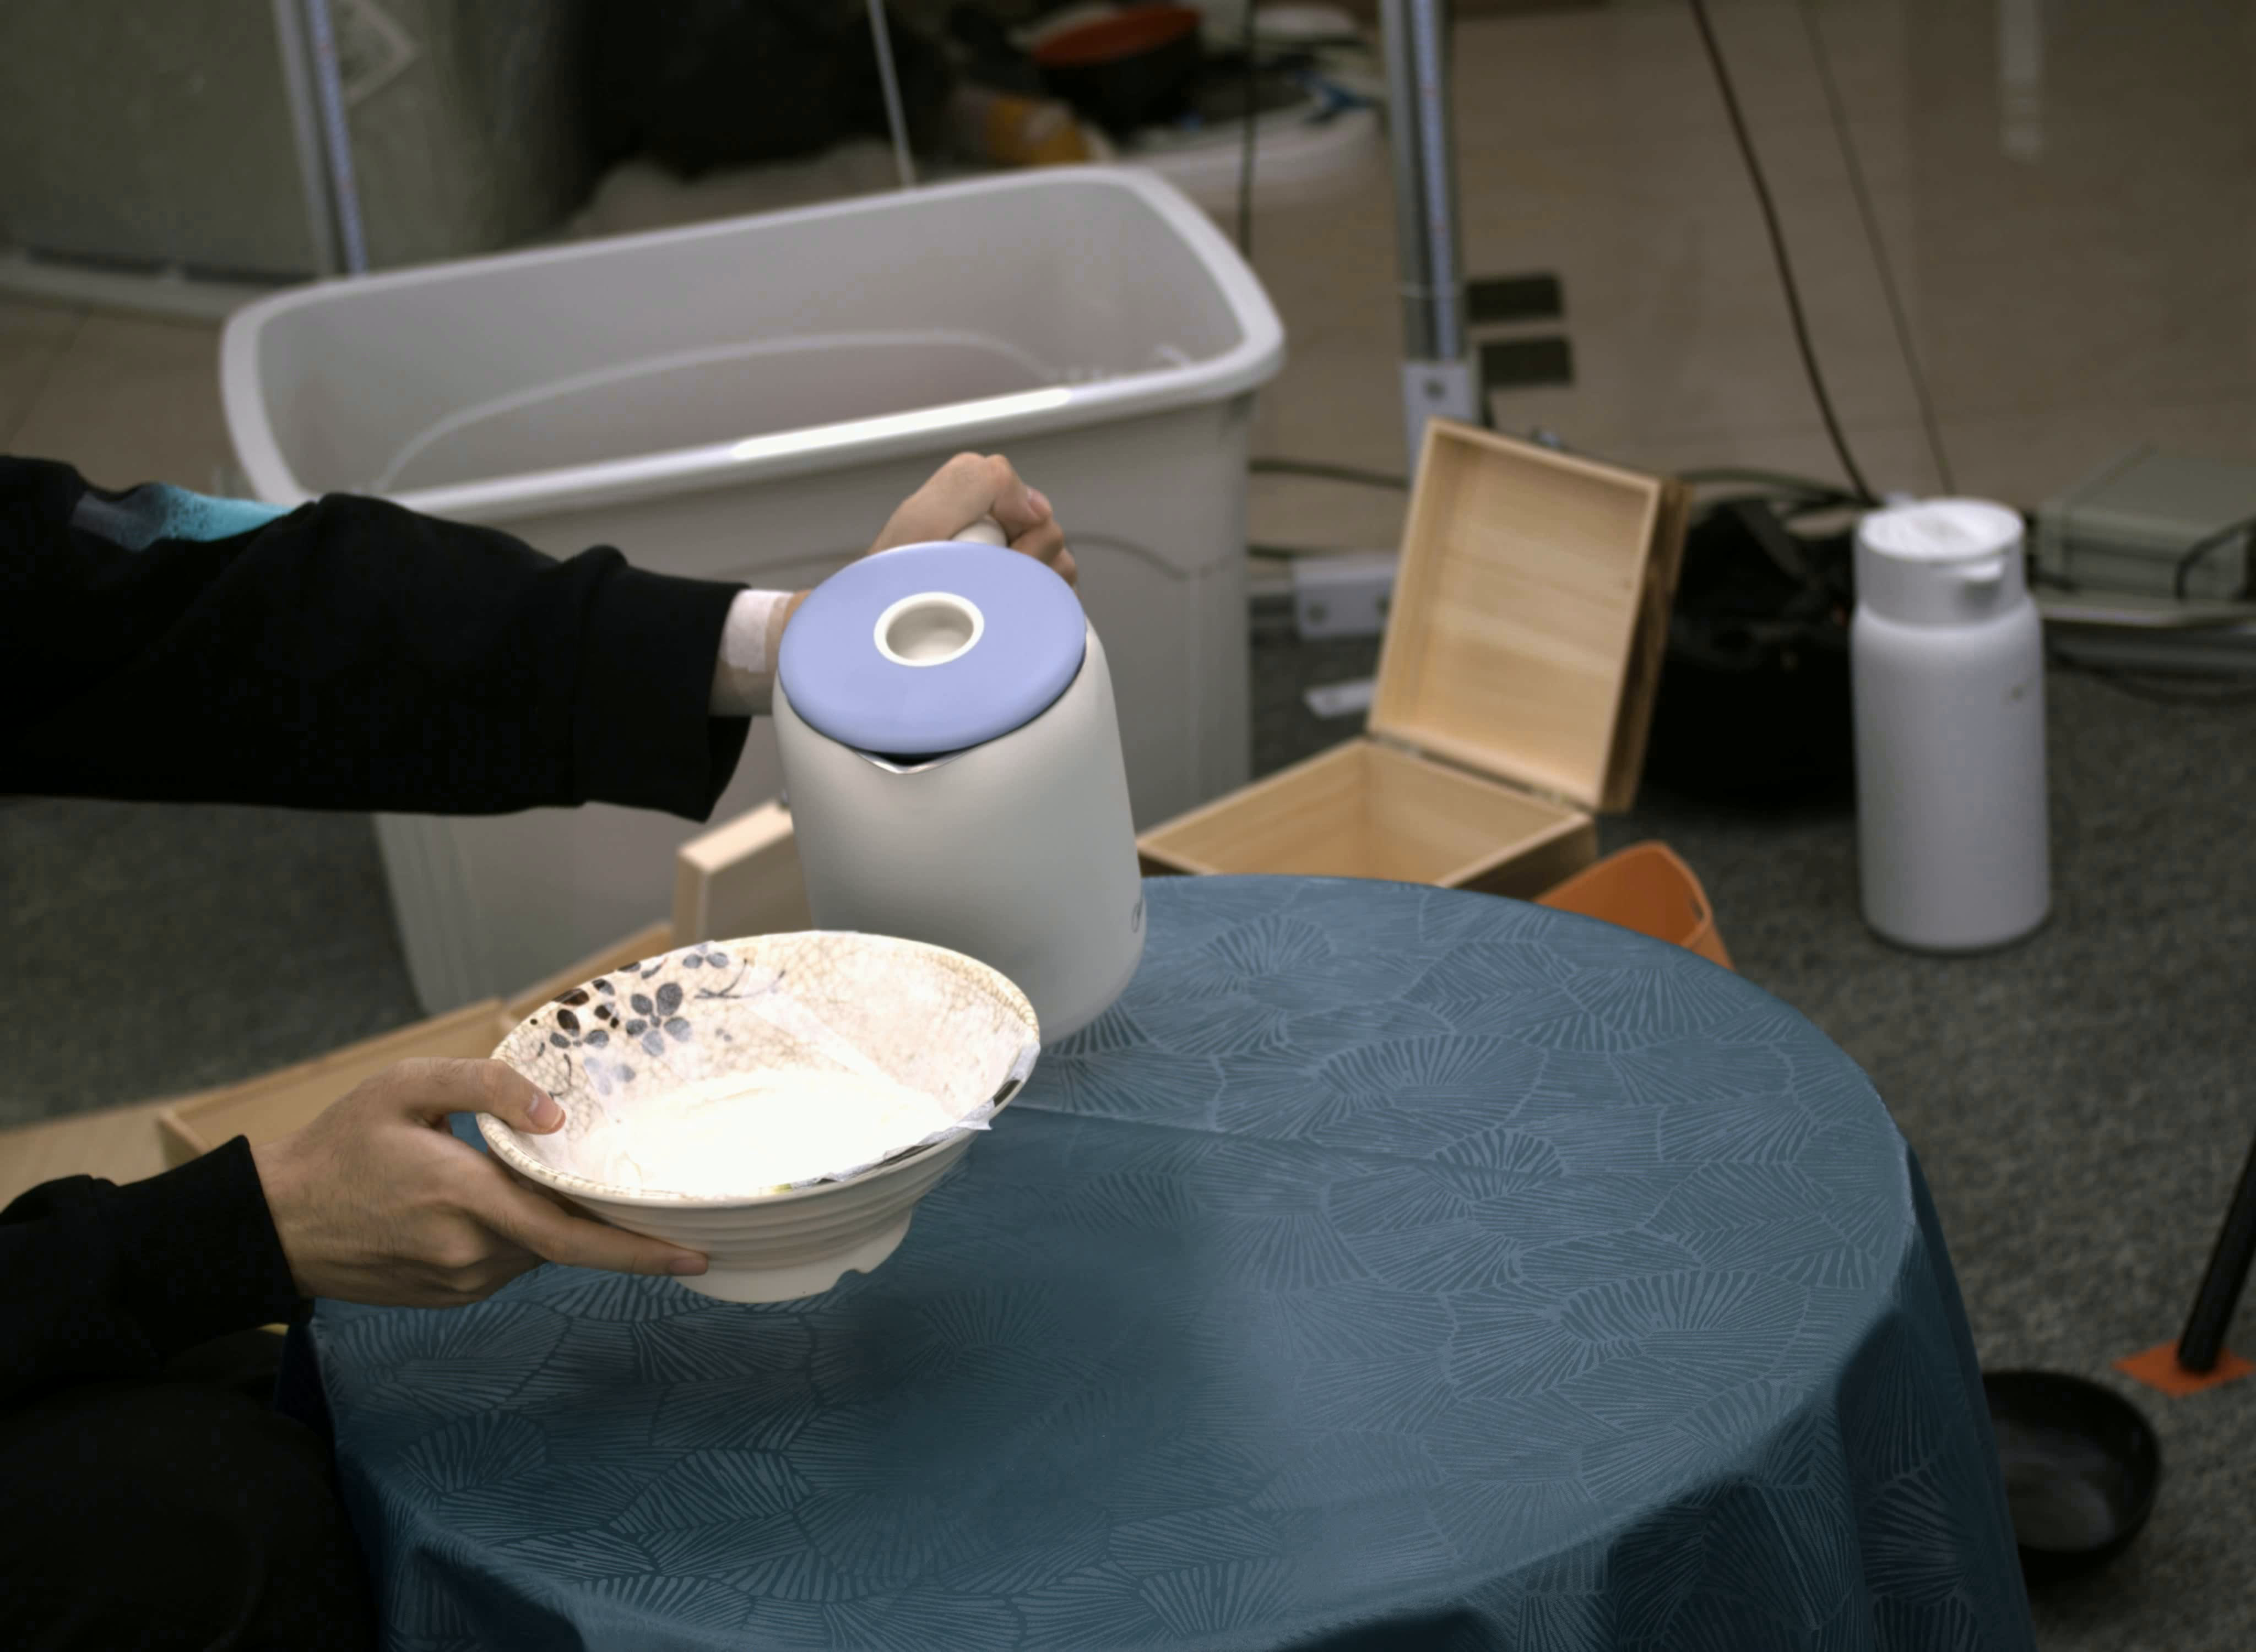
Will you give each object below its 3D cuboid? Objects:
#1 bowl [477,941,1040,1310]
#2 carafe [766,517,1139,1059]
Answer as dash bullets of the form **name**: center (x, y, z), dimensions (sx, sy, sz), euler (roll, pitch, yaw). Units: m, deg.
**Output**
- **bowl**: center (-0.126, 0.118, 2.031), dimensions (0.204, 0.079, 0.201), euler (-8, 24, 4)
- **carafe**: center (-0.065, -0.024, 2.205), dimensions (0.132, 0.186, 0.187), euler (0, 42, 7)
